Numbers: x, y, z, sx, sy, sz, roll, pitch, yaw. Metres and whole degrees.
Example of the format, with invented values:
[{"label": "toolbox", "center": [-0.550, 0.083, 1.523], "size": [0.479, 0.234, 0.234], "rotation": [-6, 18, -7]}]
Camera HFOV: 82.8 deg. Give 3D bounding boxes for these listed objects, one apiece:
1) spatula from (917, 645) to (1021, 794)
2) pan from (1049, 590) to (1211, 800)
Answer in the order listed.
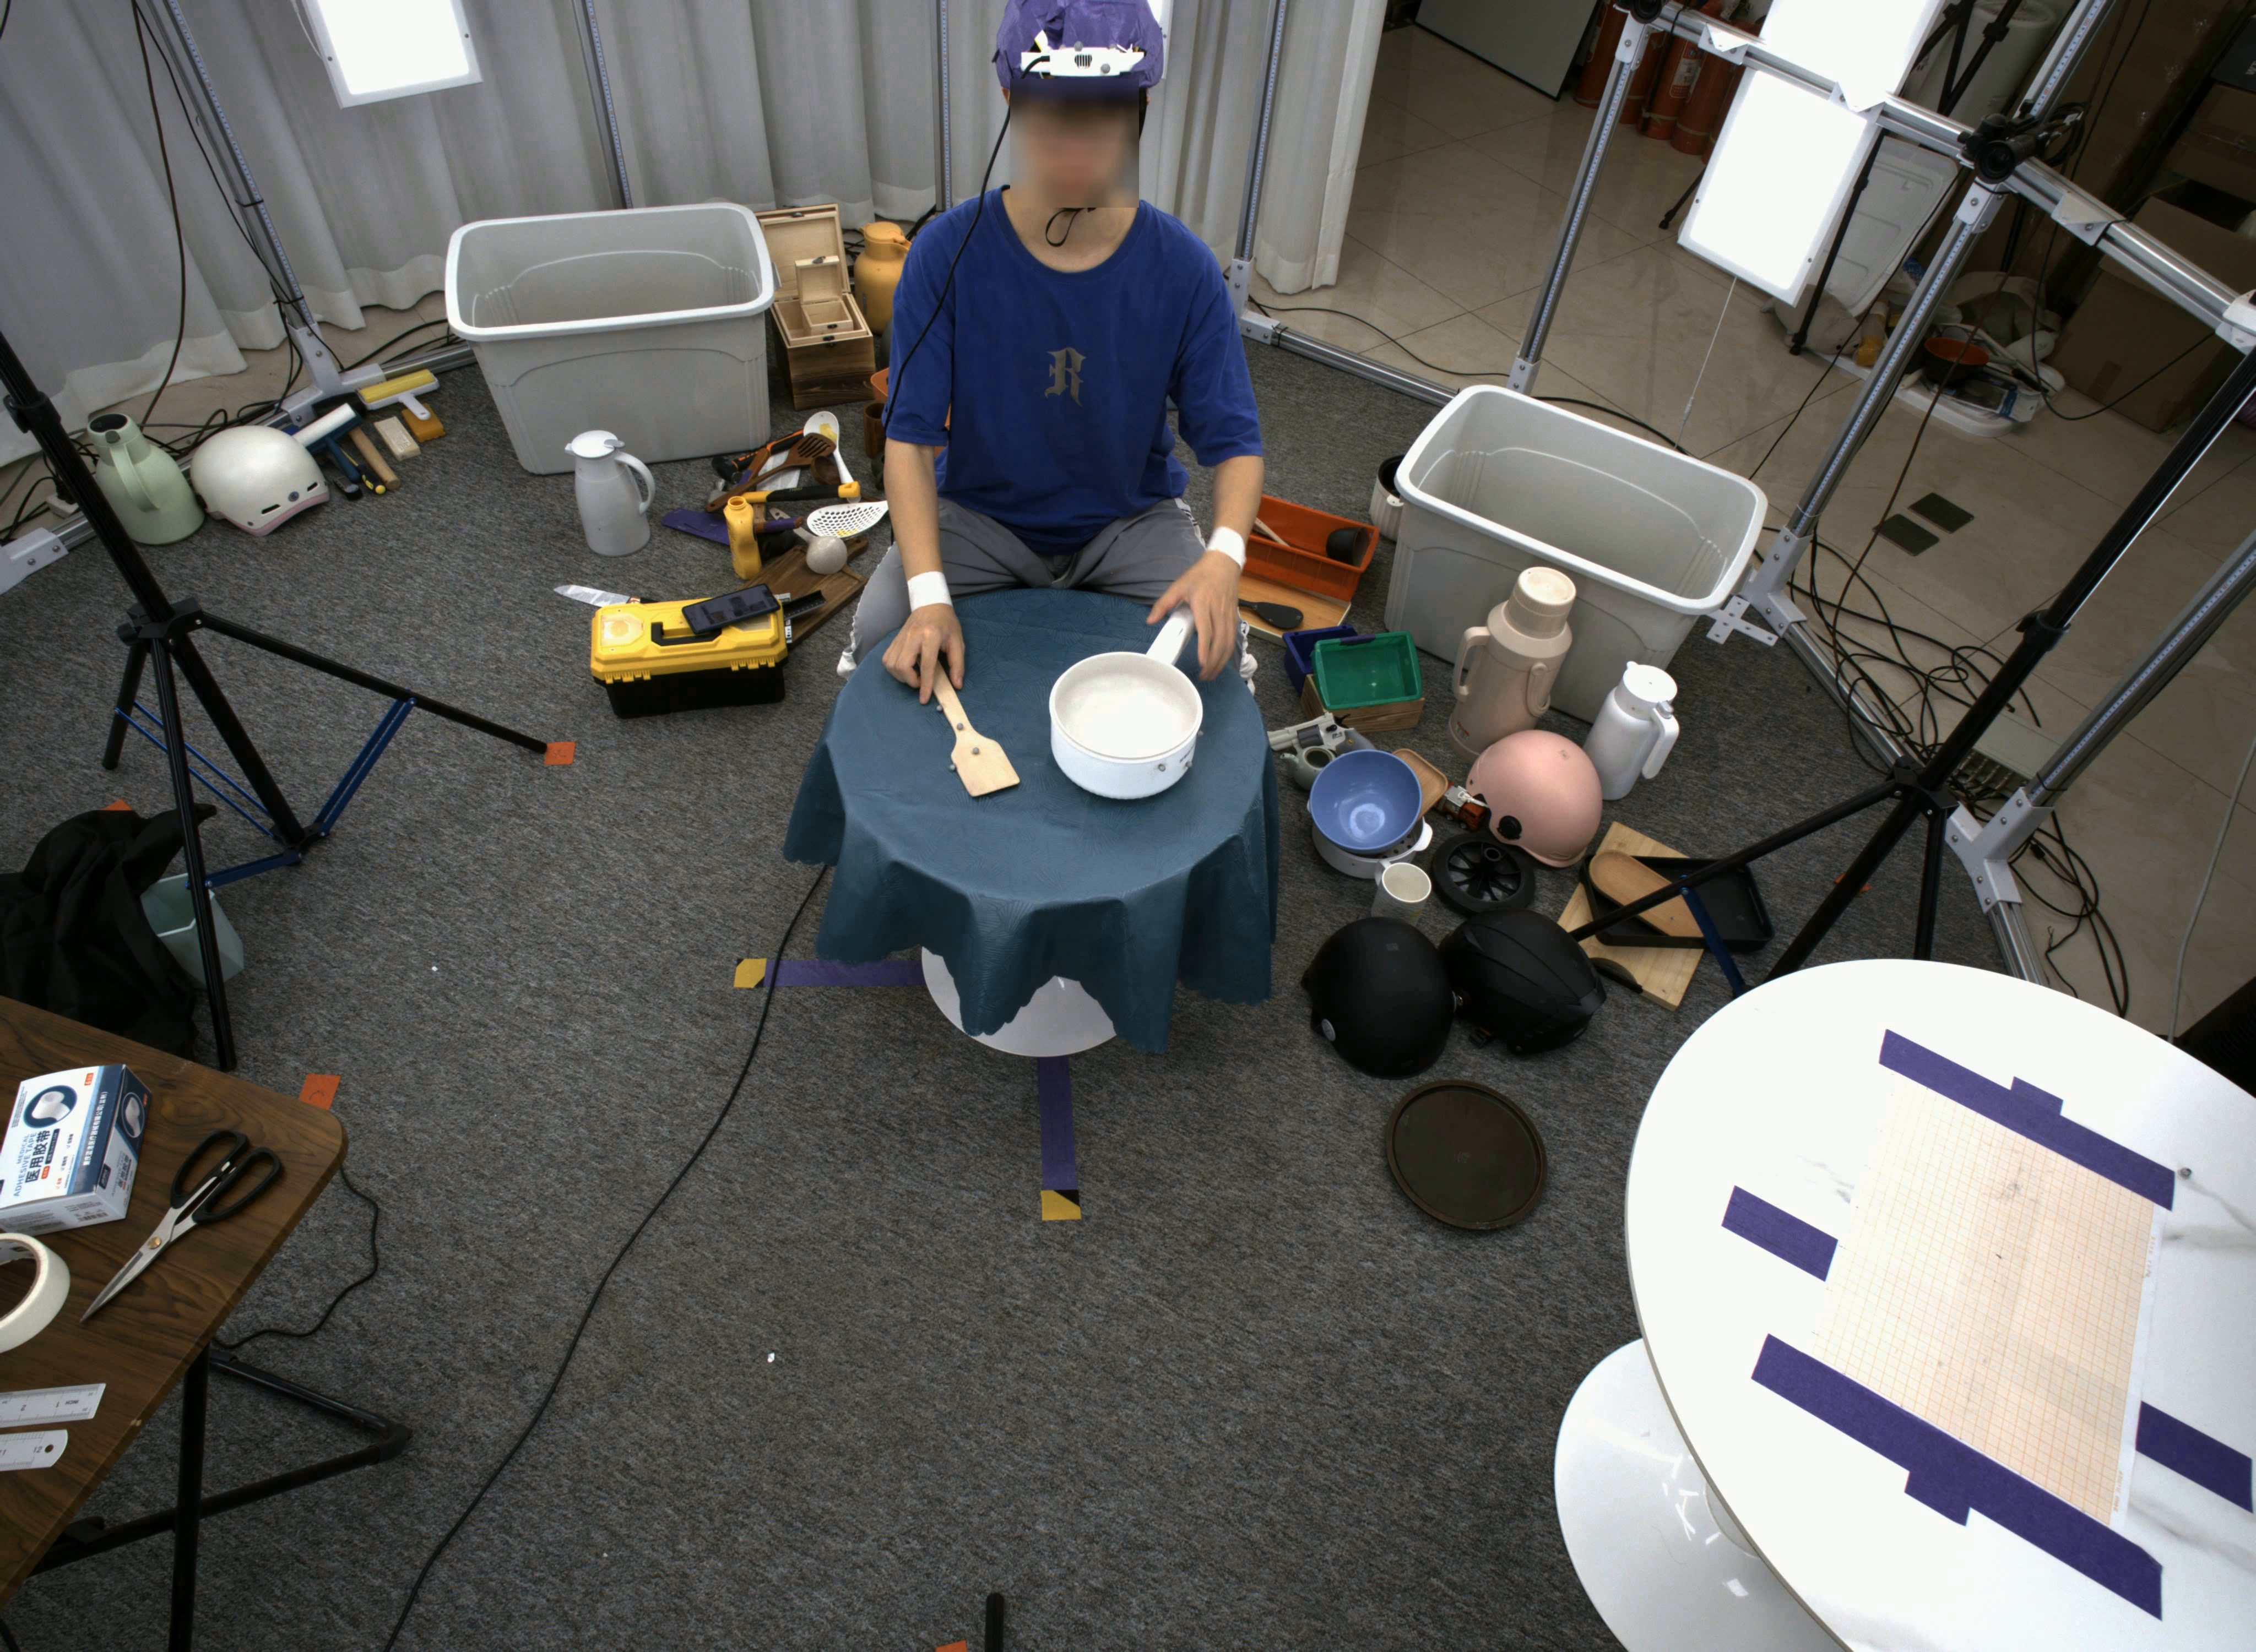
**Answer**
[{"label": "spatula", "center": [-0.235, -0.154, 1.785], "size": [0.072, 0.010, 0.300], "rotation": [-17, 53, -18]}, {"label": "pan", "center": [0.027, -0.183, 1.770], "size": [0.202, 0.099, 0.361], "rotation": [19, 52, 15]}]
